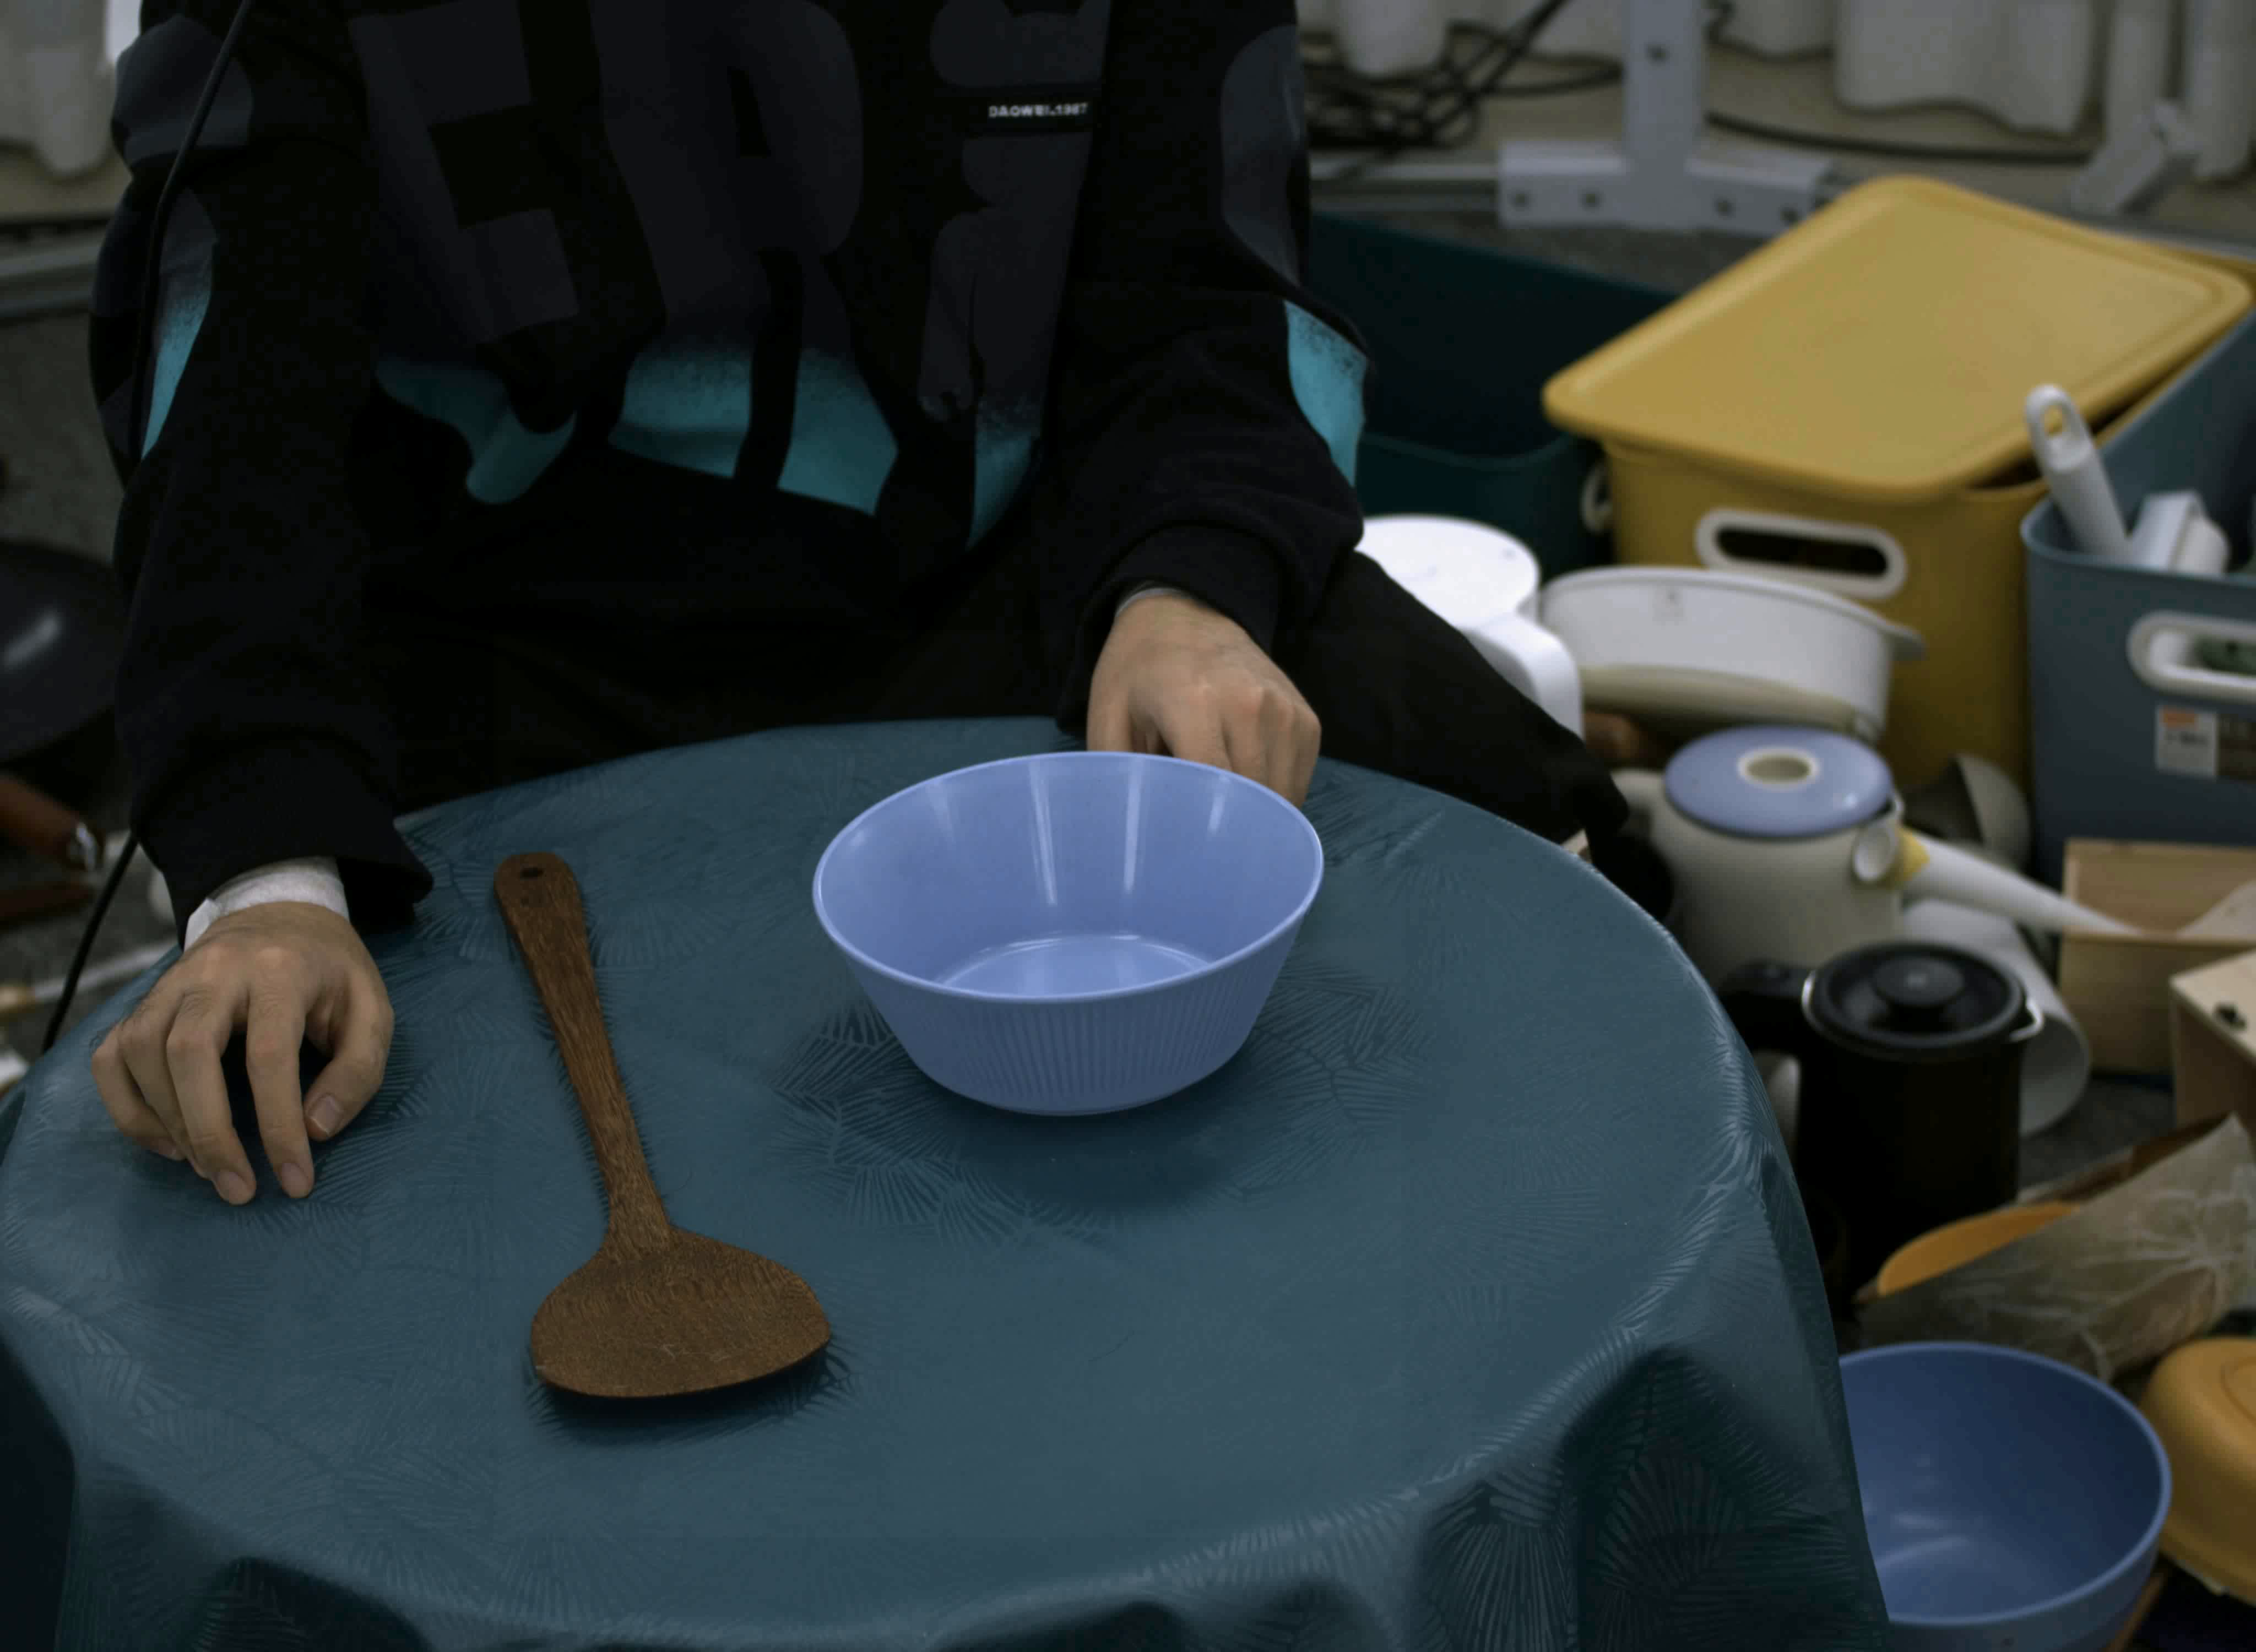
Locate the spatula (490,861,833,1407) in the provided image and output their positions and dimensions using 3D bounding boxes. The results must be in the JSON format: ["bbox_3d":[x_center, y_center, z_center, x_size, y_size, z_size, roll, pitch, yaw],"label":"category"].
[{"bbox_3d":[-0.179,0.096,1.914,0.096,0.015,0.390,-8,28,-11],"label":"spatula"}]

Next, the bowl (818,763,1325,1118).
[{"bbox_3d":[-0.017,0.045,1.937,0.175,0.069,0.178,-3,26,2],"label":"bowl"}]
